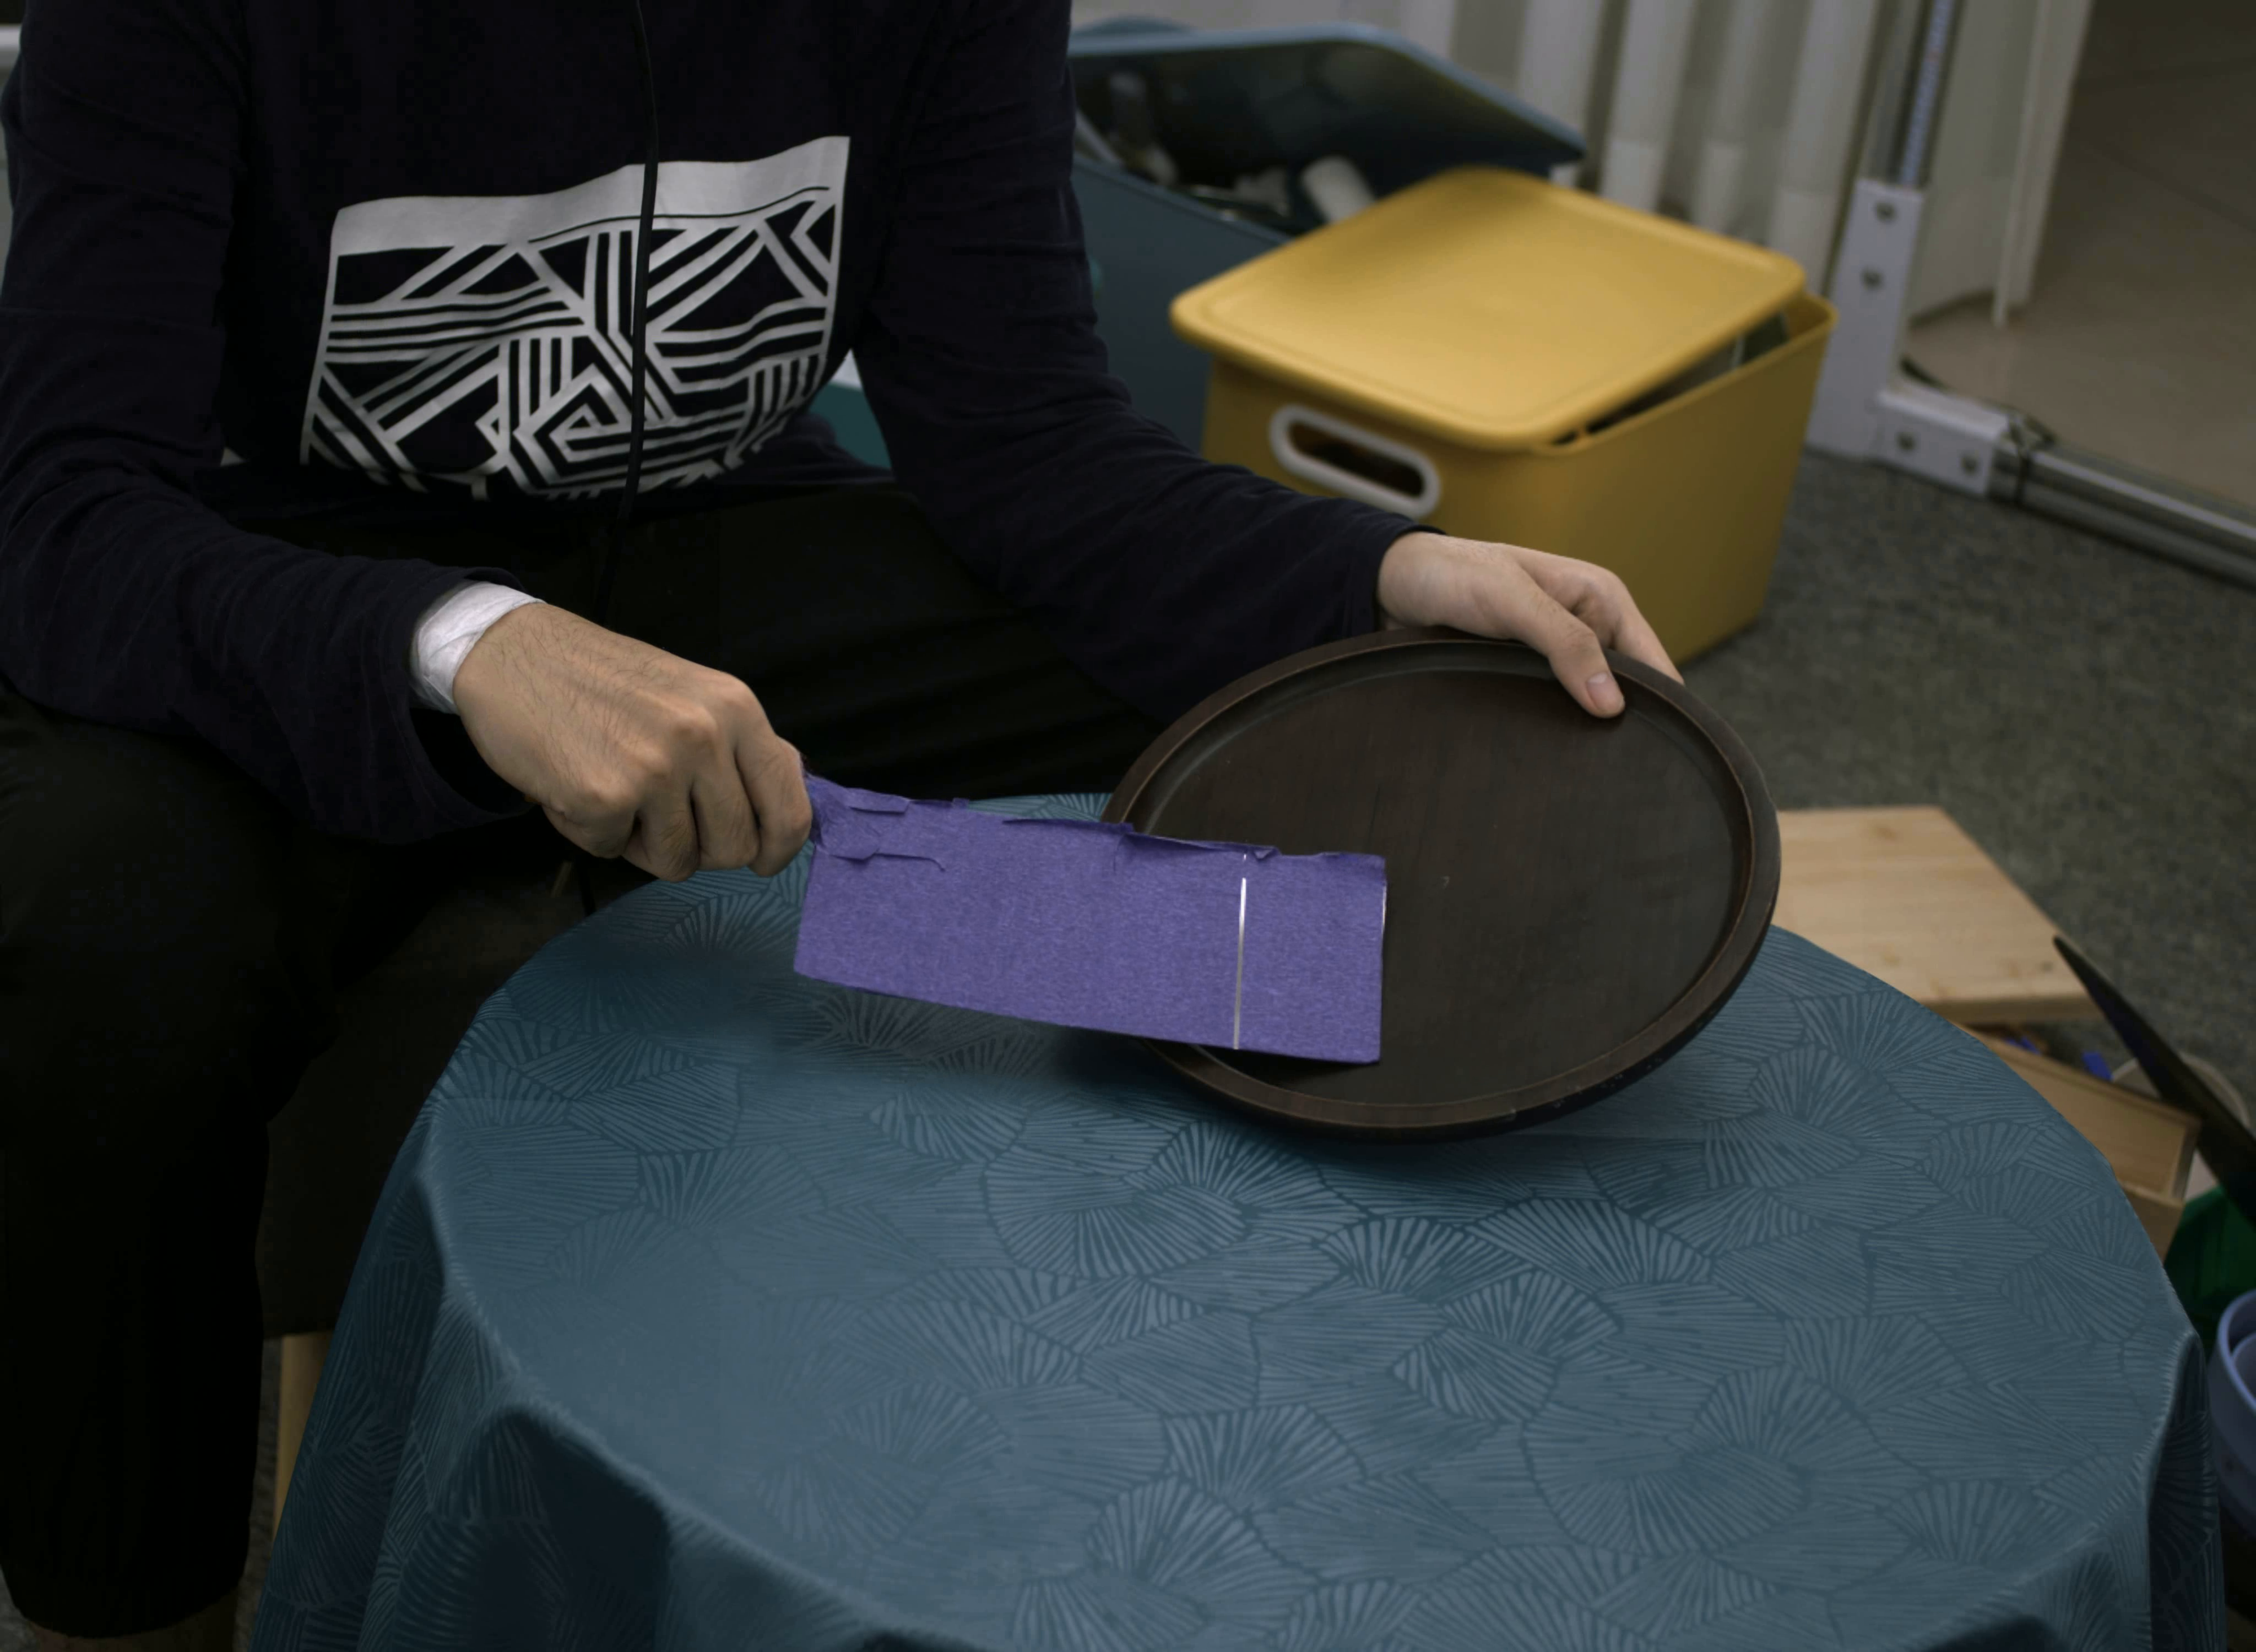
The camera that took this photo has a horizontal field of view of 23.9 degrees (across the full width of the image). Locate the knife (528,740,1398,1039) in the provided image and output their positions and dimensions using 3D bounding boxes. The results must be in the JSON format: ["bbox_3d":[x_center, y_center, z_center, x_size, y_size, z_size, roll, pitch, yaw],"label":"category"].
[{"bbox_3d":[-0.061,0.023,1.879,0.314,0.032,0.104,6,49,0],"label":"knife"}]

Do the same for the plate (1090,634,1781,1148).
[{"bbox_3d":[0.108,0.021,1.915,0.254,0.029,0.257,-6,45,6],"label":"plate"}]
